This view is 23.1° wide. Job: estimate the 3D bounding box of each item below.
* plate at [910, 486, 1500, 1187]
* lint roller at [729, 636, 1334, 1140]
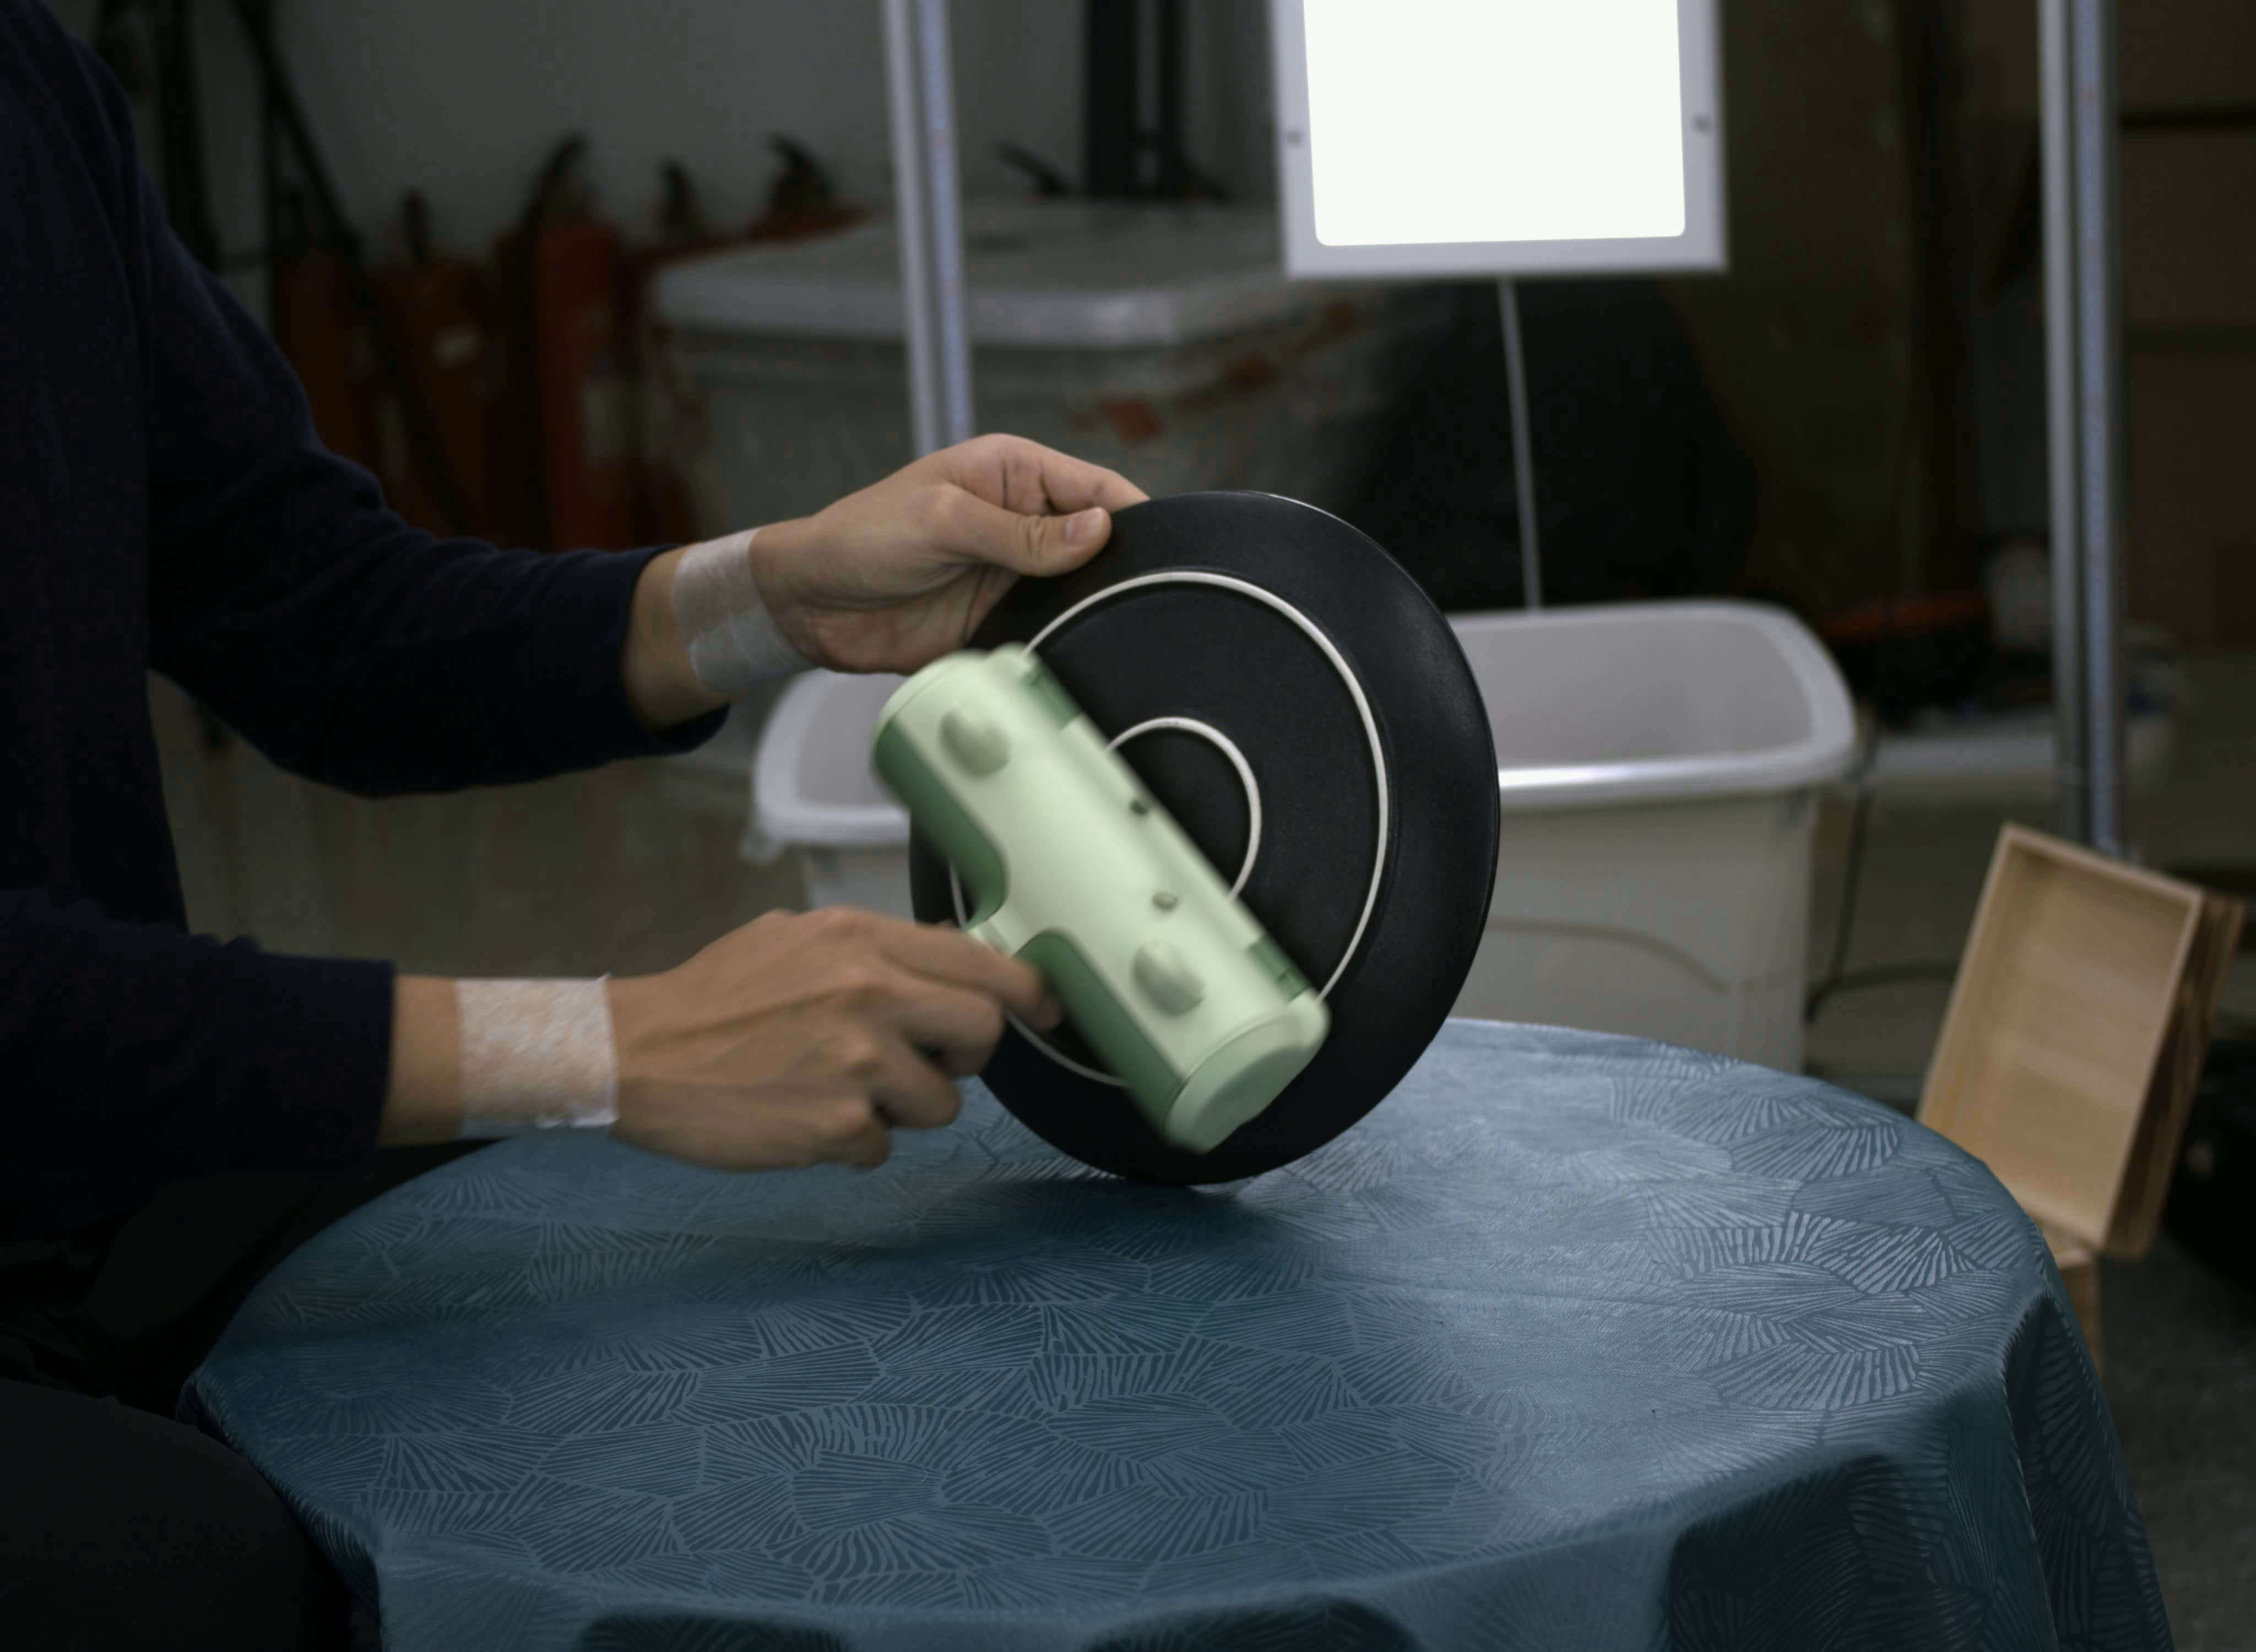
[{"bbox_3d":[0.019,0.002,1.900,0.249,0.245,0.023,5,-3,36],"label":"plate"},{"bbox_3d":[-0.057,0.041,1.853,0.180,0.082,0.200,-30,61,-18],"label":"lint roller"}]
